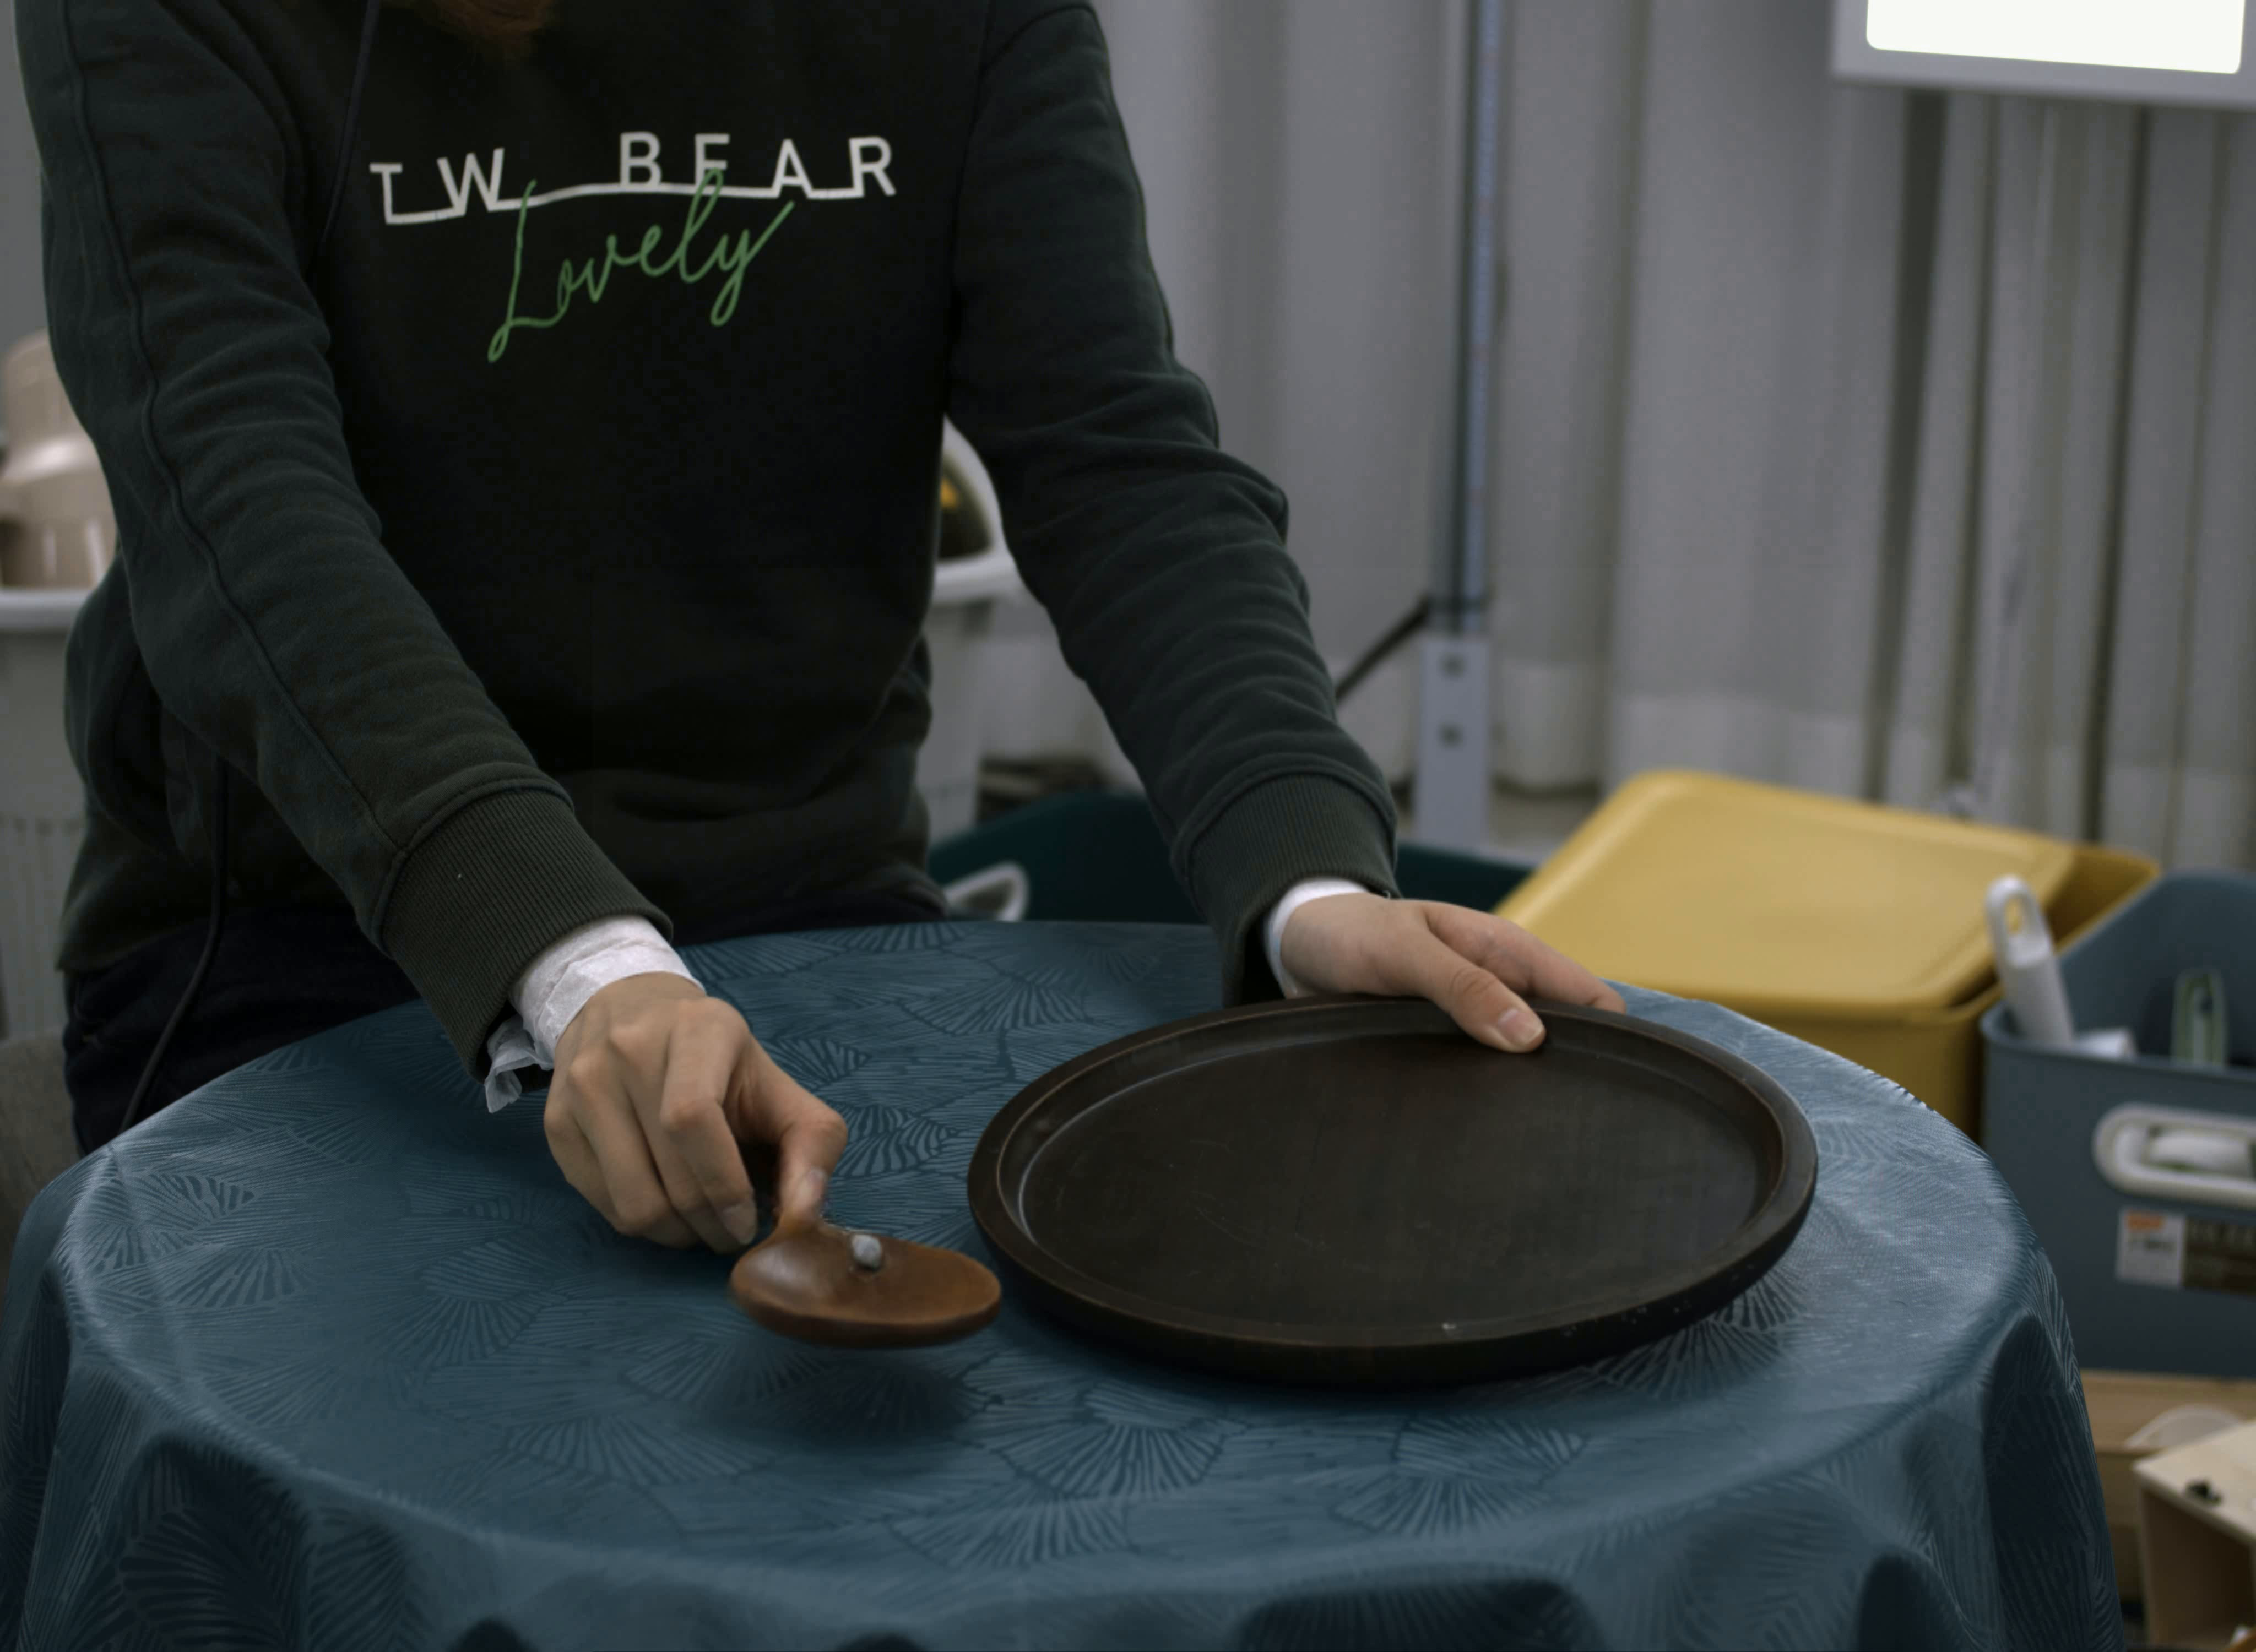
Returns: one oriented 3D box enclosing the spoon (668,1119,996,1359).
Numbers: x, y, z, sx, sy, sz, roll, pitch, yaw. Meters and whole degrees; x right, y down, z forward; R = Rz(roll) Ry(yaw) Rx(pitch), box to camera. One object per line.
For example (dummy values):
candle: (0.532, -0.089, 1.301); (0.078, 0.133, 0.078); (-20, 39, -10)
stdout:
spoon: (-0.096, 0.119, 1.509); (0.076, 0.017, 0.213); (-2, 13, -19)

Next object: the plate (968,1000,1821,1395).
plate: (0.079, 0.107, 1.564); (0.254, 0.029, 0.253); (-1, 22, 1)
